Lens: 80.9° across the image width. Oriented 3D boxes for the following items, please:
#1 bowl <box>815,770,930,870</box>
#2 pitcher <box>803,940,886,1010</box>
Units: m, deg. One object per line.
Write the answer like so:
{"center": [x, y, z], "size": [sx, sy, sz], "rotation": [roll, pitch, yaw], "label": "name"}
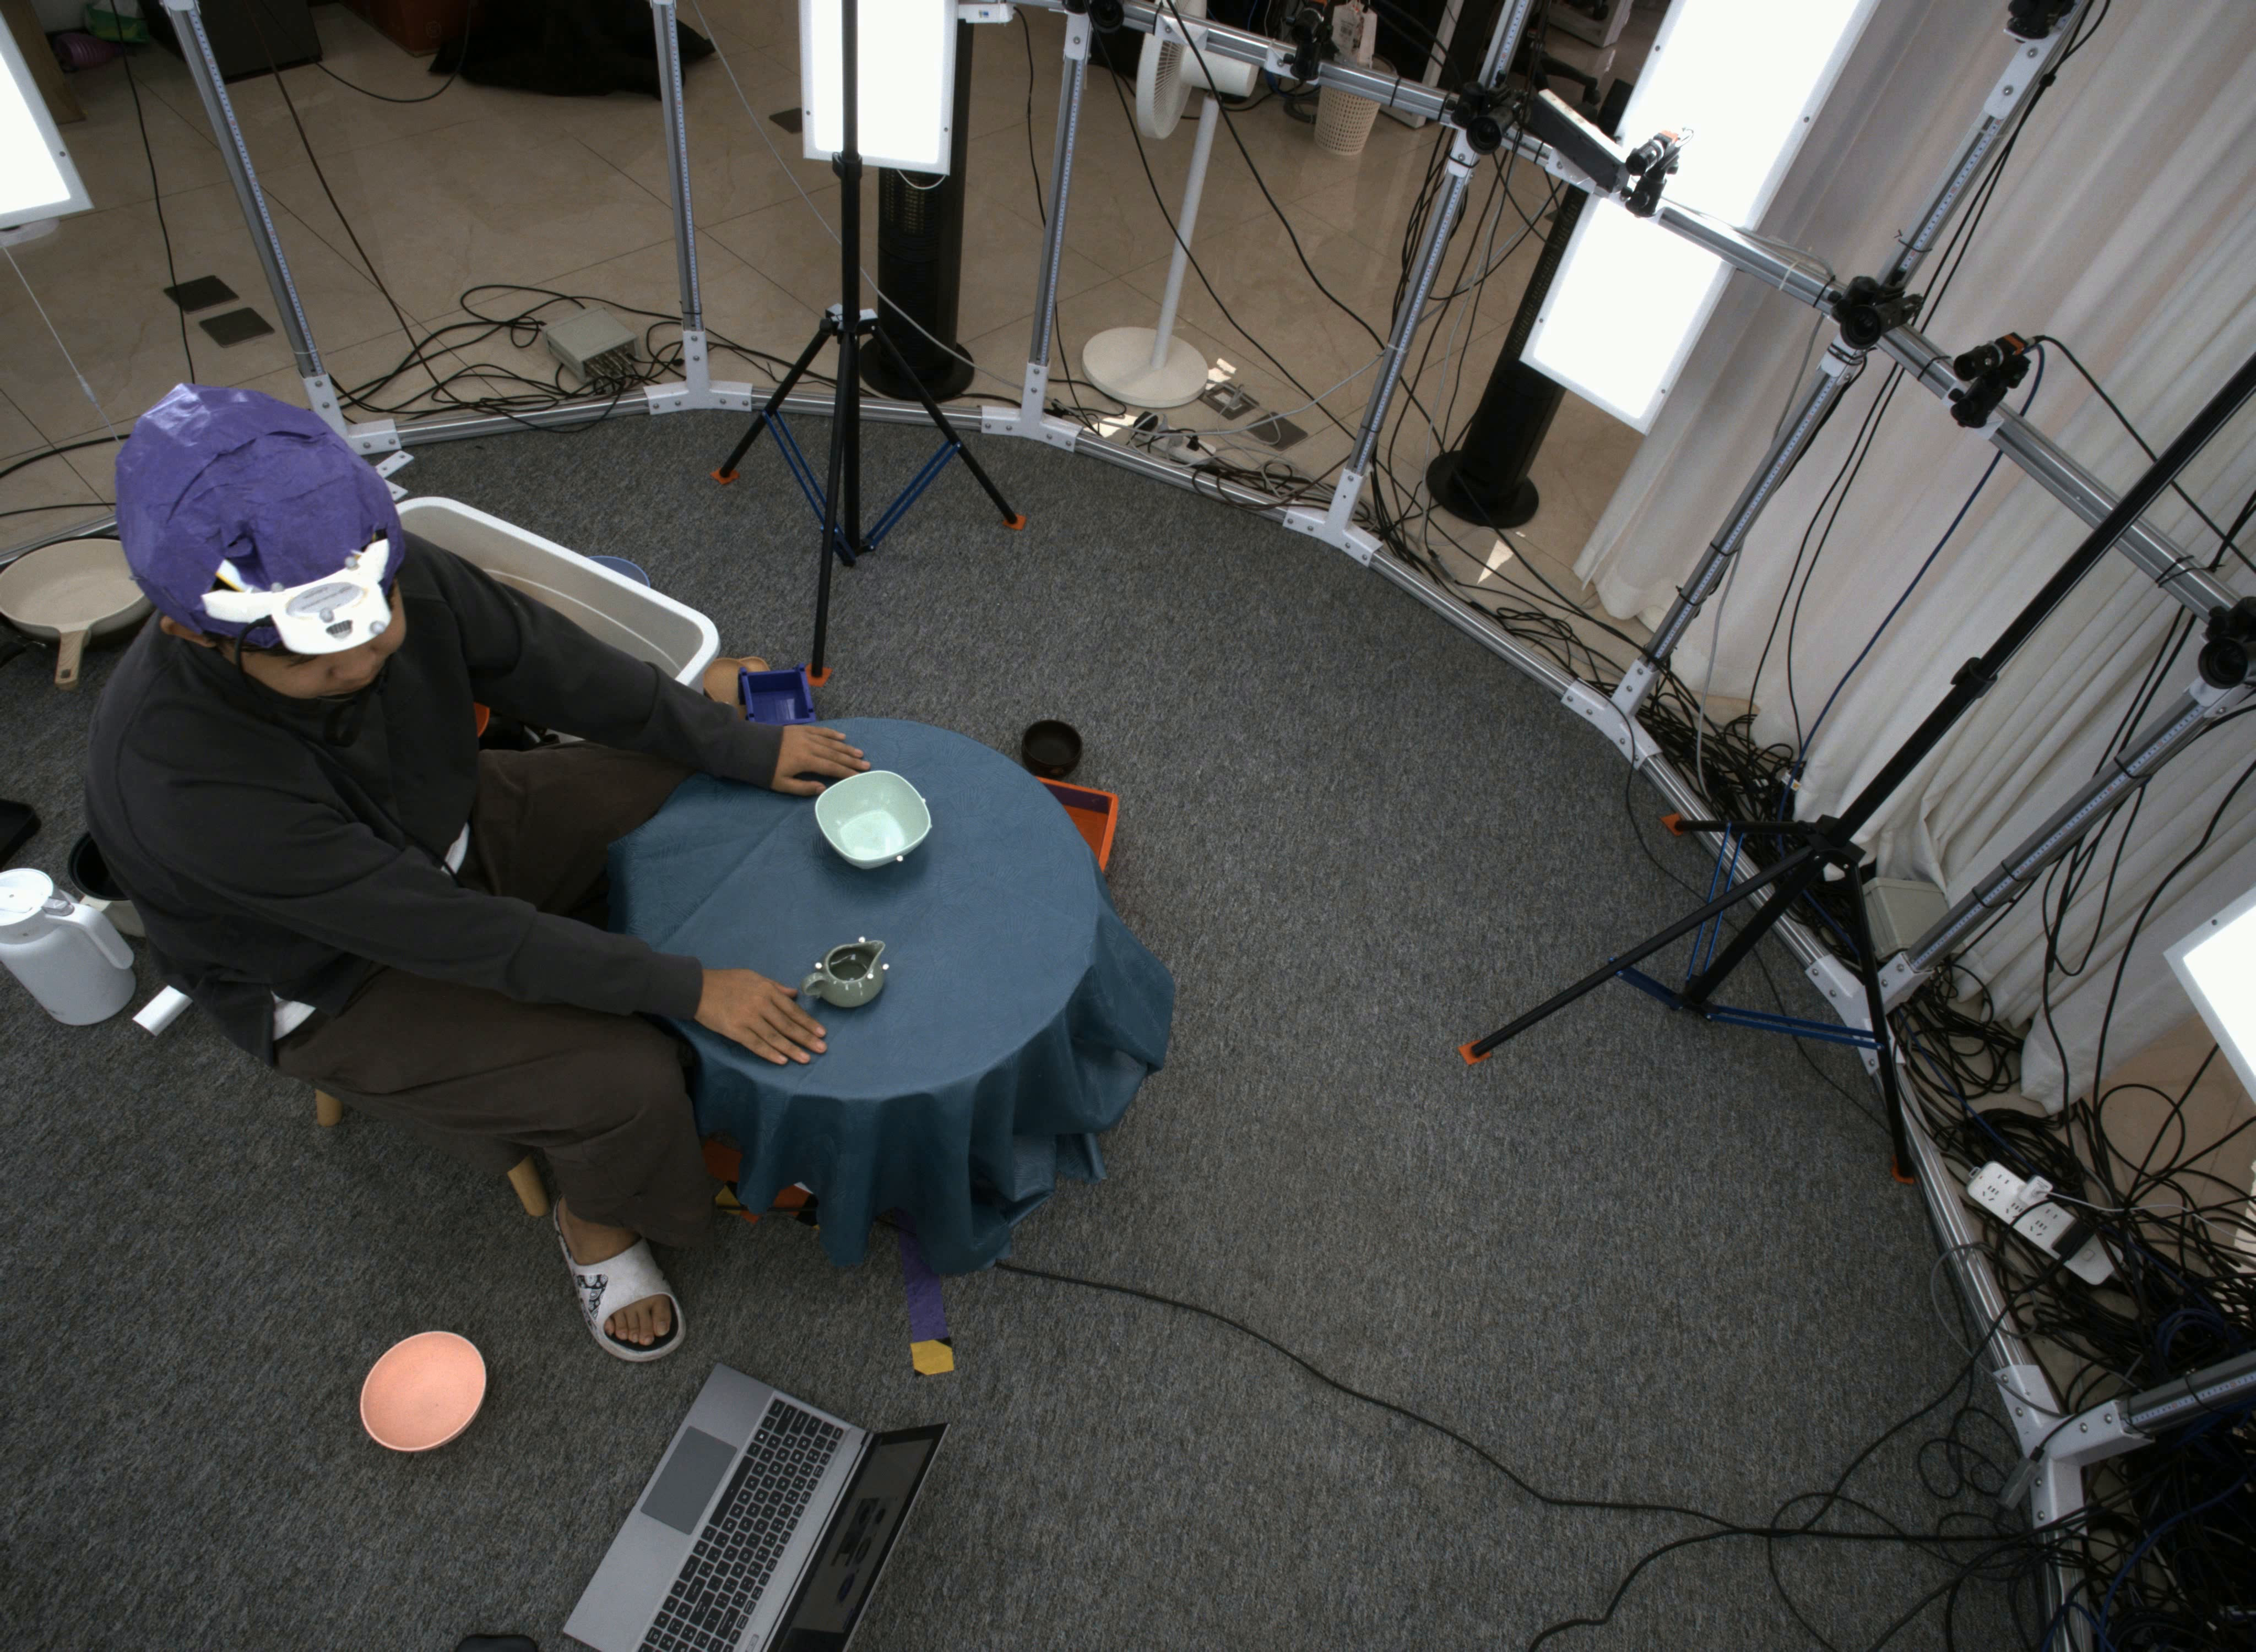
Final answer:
{"center": [-0.336, 0.001, 1.706], "size": [0.151, 0.060, 0.149], "rotation": [8, 52, -9], "label": "bowl"}
{"center": [-0.342, 0.179, 1.572], "size": [0.113, 0.057, 0.082], "rotation": [-29, 64, -29], "label": "pitcher"}
